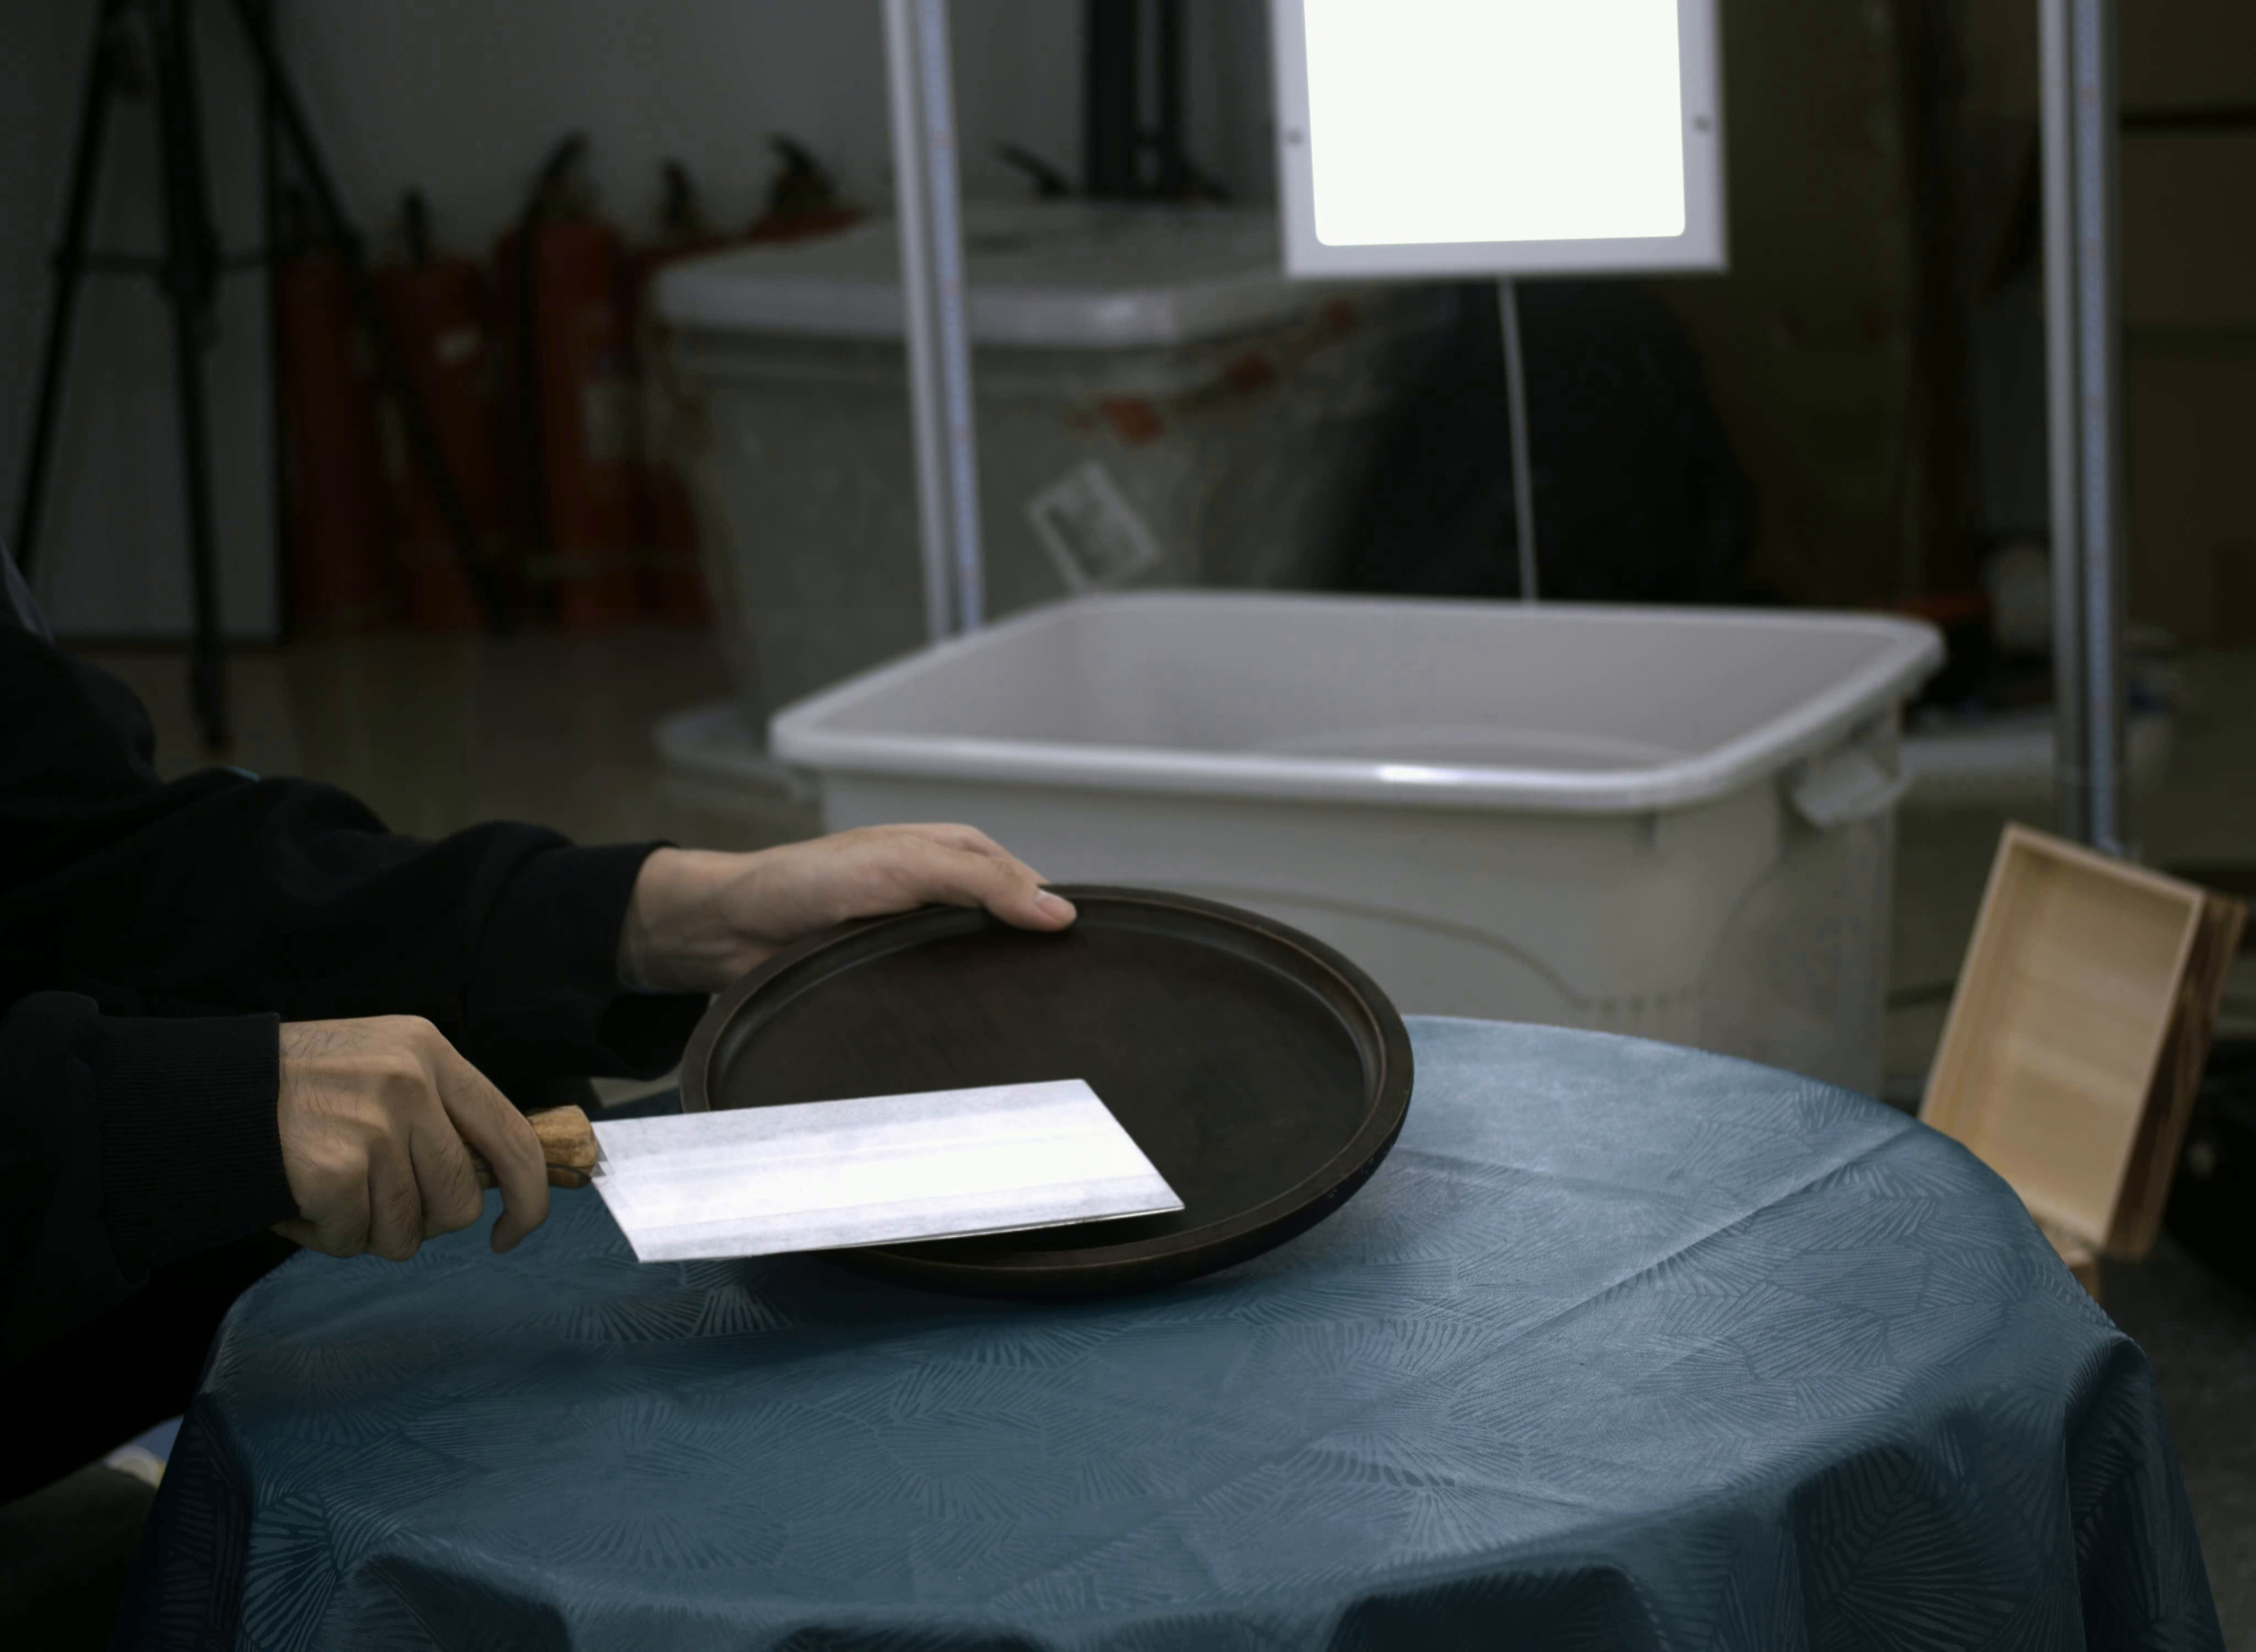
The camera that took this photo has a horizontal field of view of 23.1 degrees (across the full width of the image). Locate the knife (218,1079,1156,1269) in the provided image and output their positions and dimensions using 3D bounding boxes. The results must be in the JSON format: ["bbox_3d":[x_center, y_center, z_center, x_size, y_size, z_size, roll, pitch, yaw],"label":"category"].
[{"bbox_3d":[-0.137,0.115,1.786,0.300,0.021,0.094,-4,27,-22],"label":"knife"}]

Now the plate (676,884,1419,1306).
[{"bbox_3d":[-0.027,0.089,1.884,0.254,0.029,0.254,-3,31,0],"label":"plate"}]
